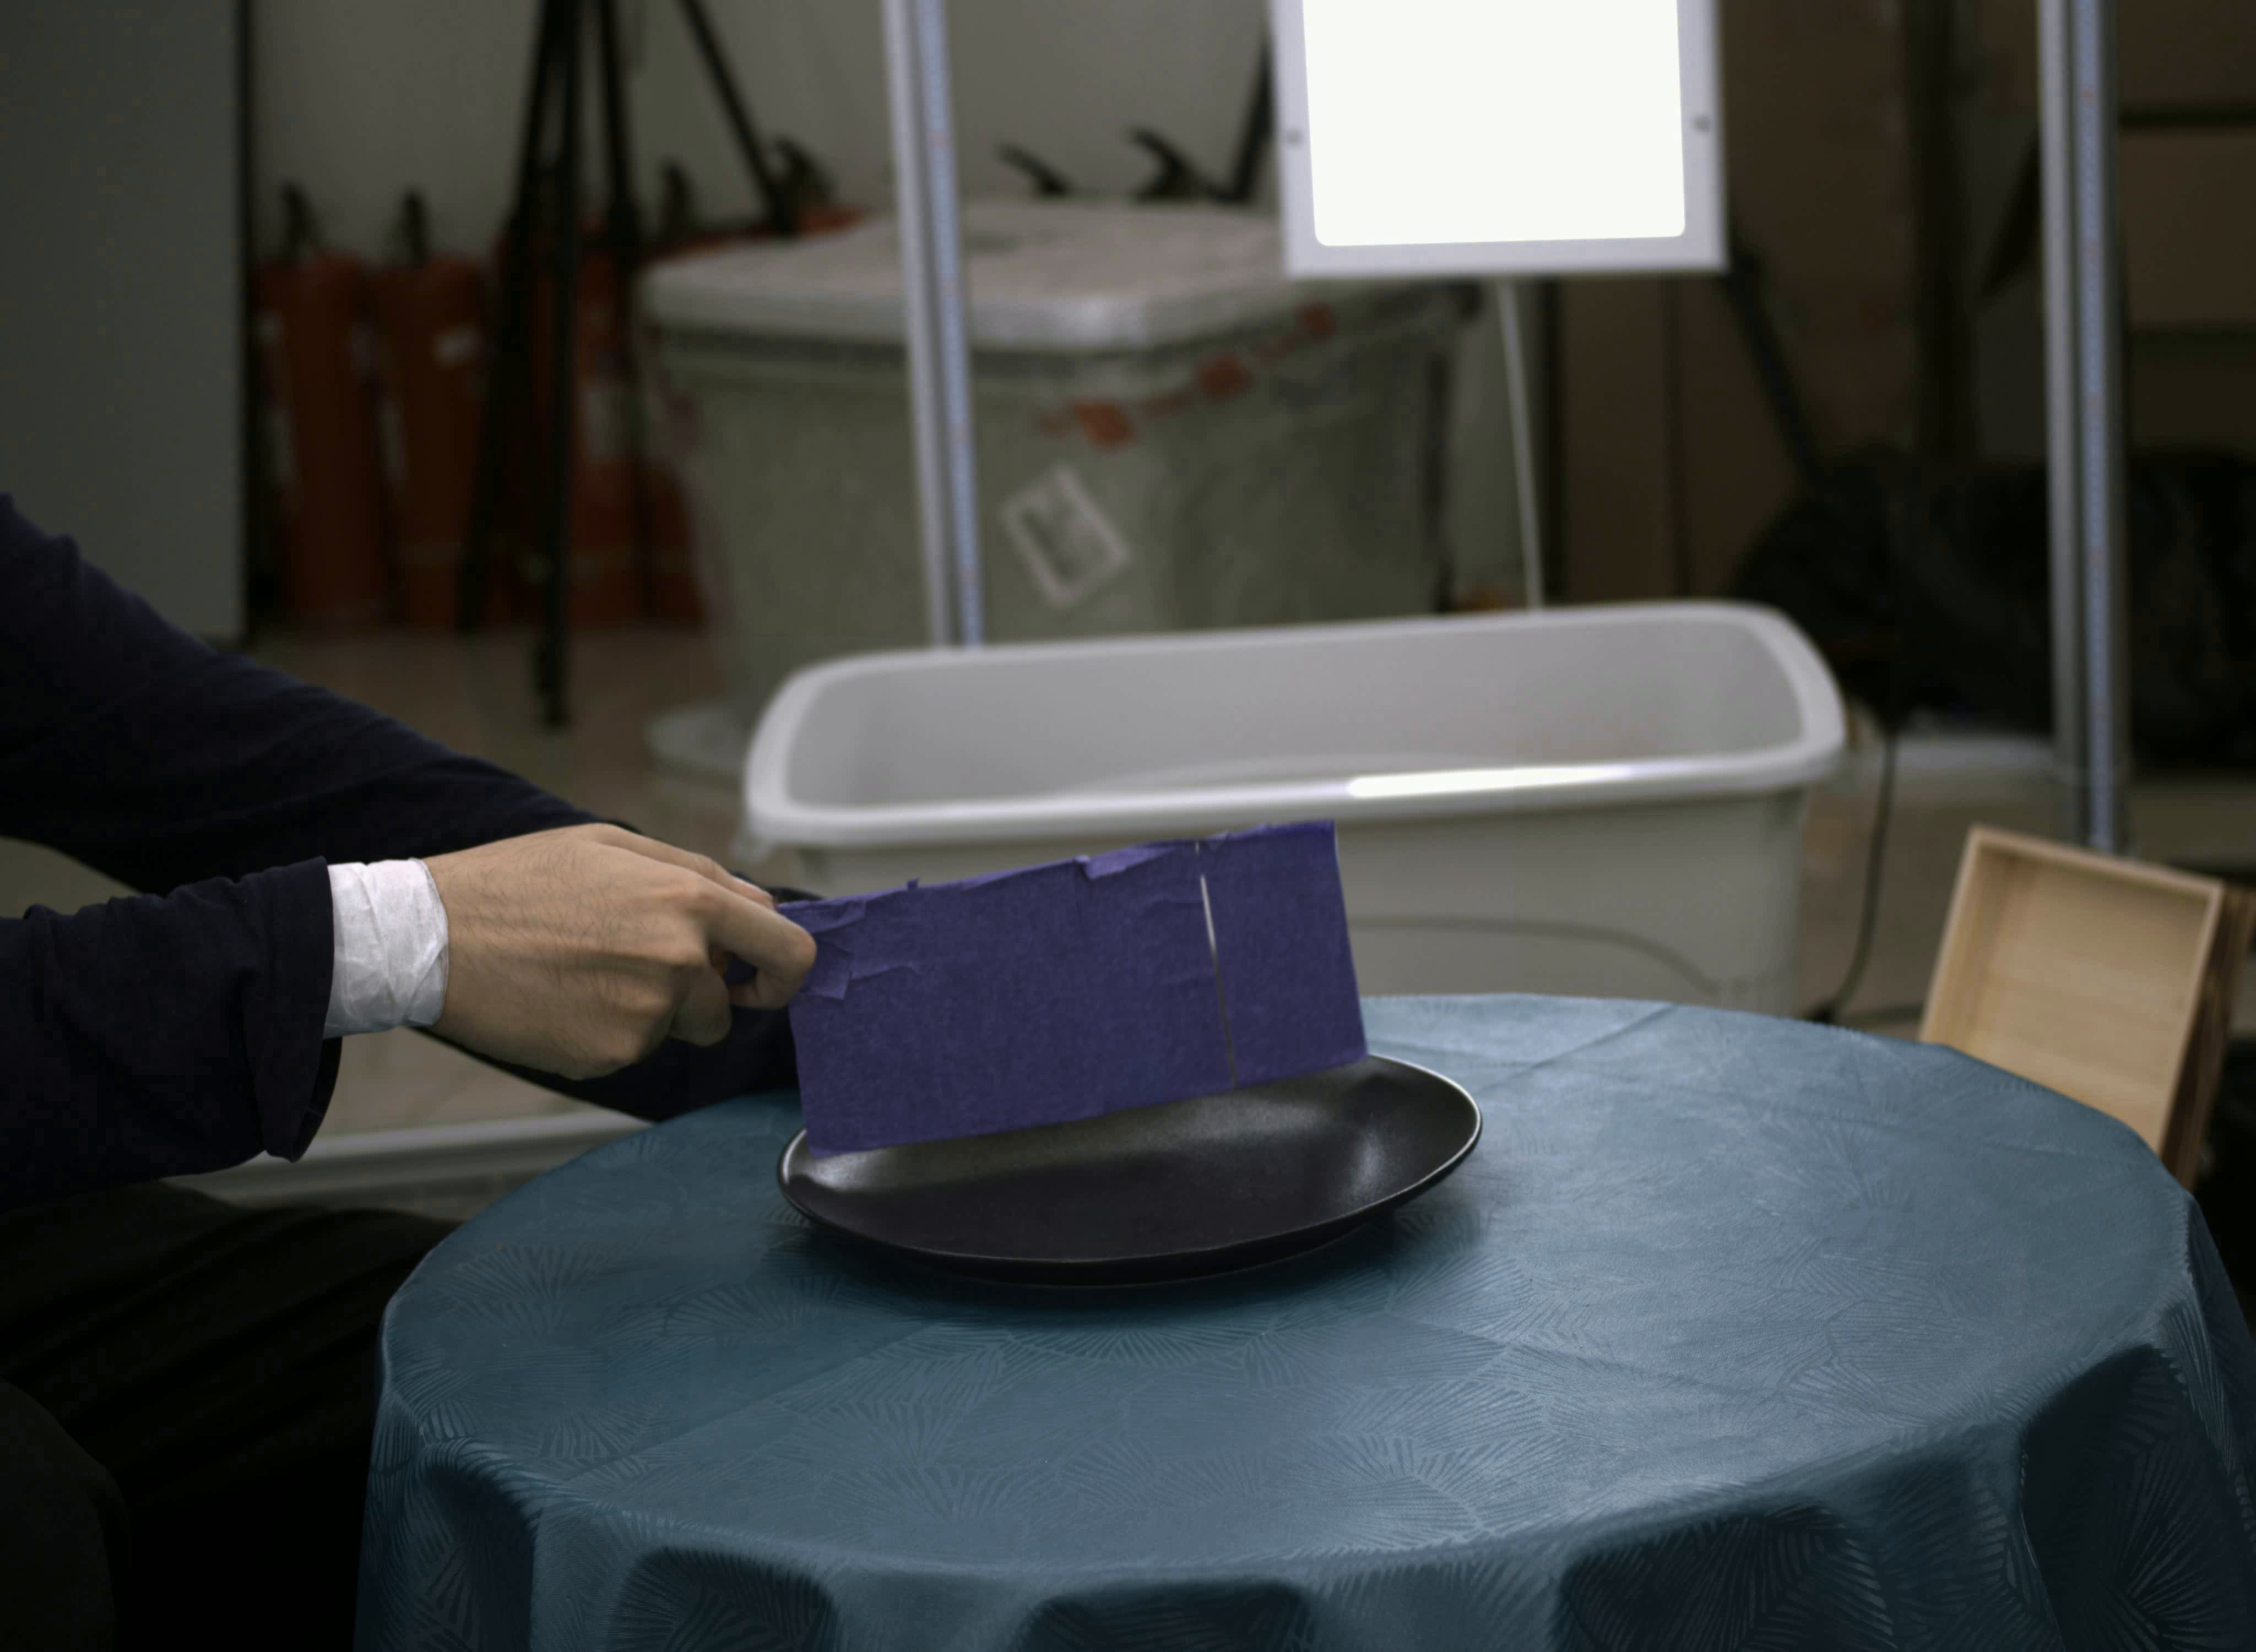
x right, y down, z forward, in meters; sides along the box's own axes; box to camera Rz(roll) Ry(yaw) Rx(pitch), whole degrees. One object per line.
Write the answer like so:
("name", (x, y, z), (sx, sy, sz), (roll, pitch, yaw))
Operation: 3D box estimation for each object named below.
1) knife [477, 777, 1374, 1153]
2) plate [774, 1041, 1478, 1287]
("knife", (-0.064, 0.061, 1.903), (0.311, 0.104, 0.032), (-11, 6, -11))
("plate", (0.000, 0.117, 1.887), (0.244, 0.023, 0.244), (-5, 15, 0))
